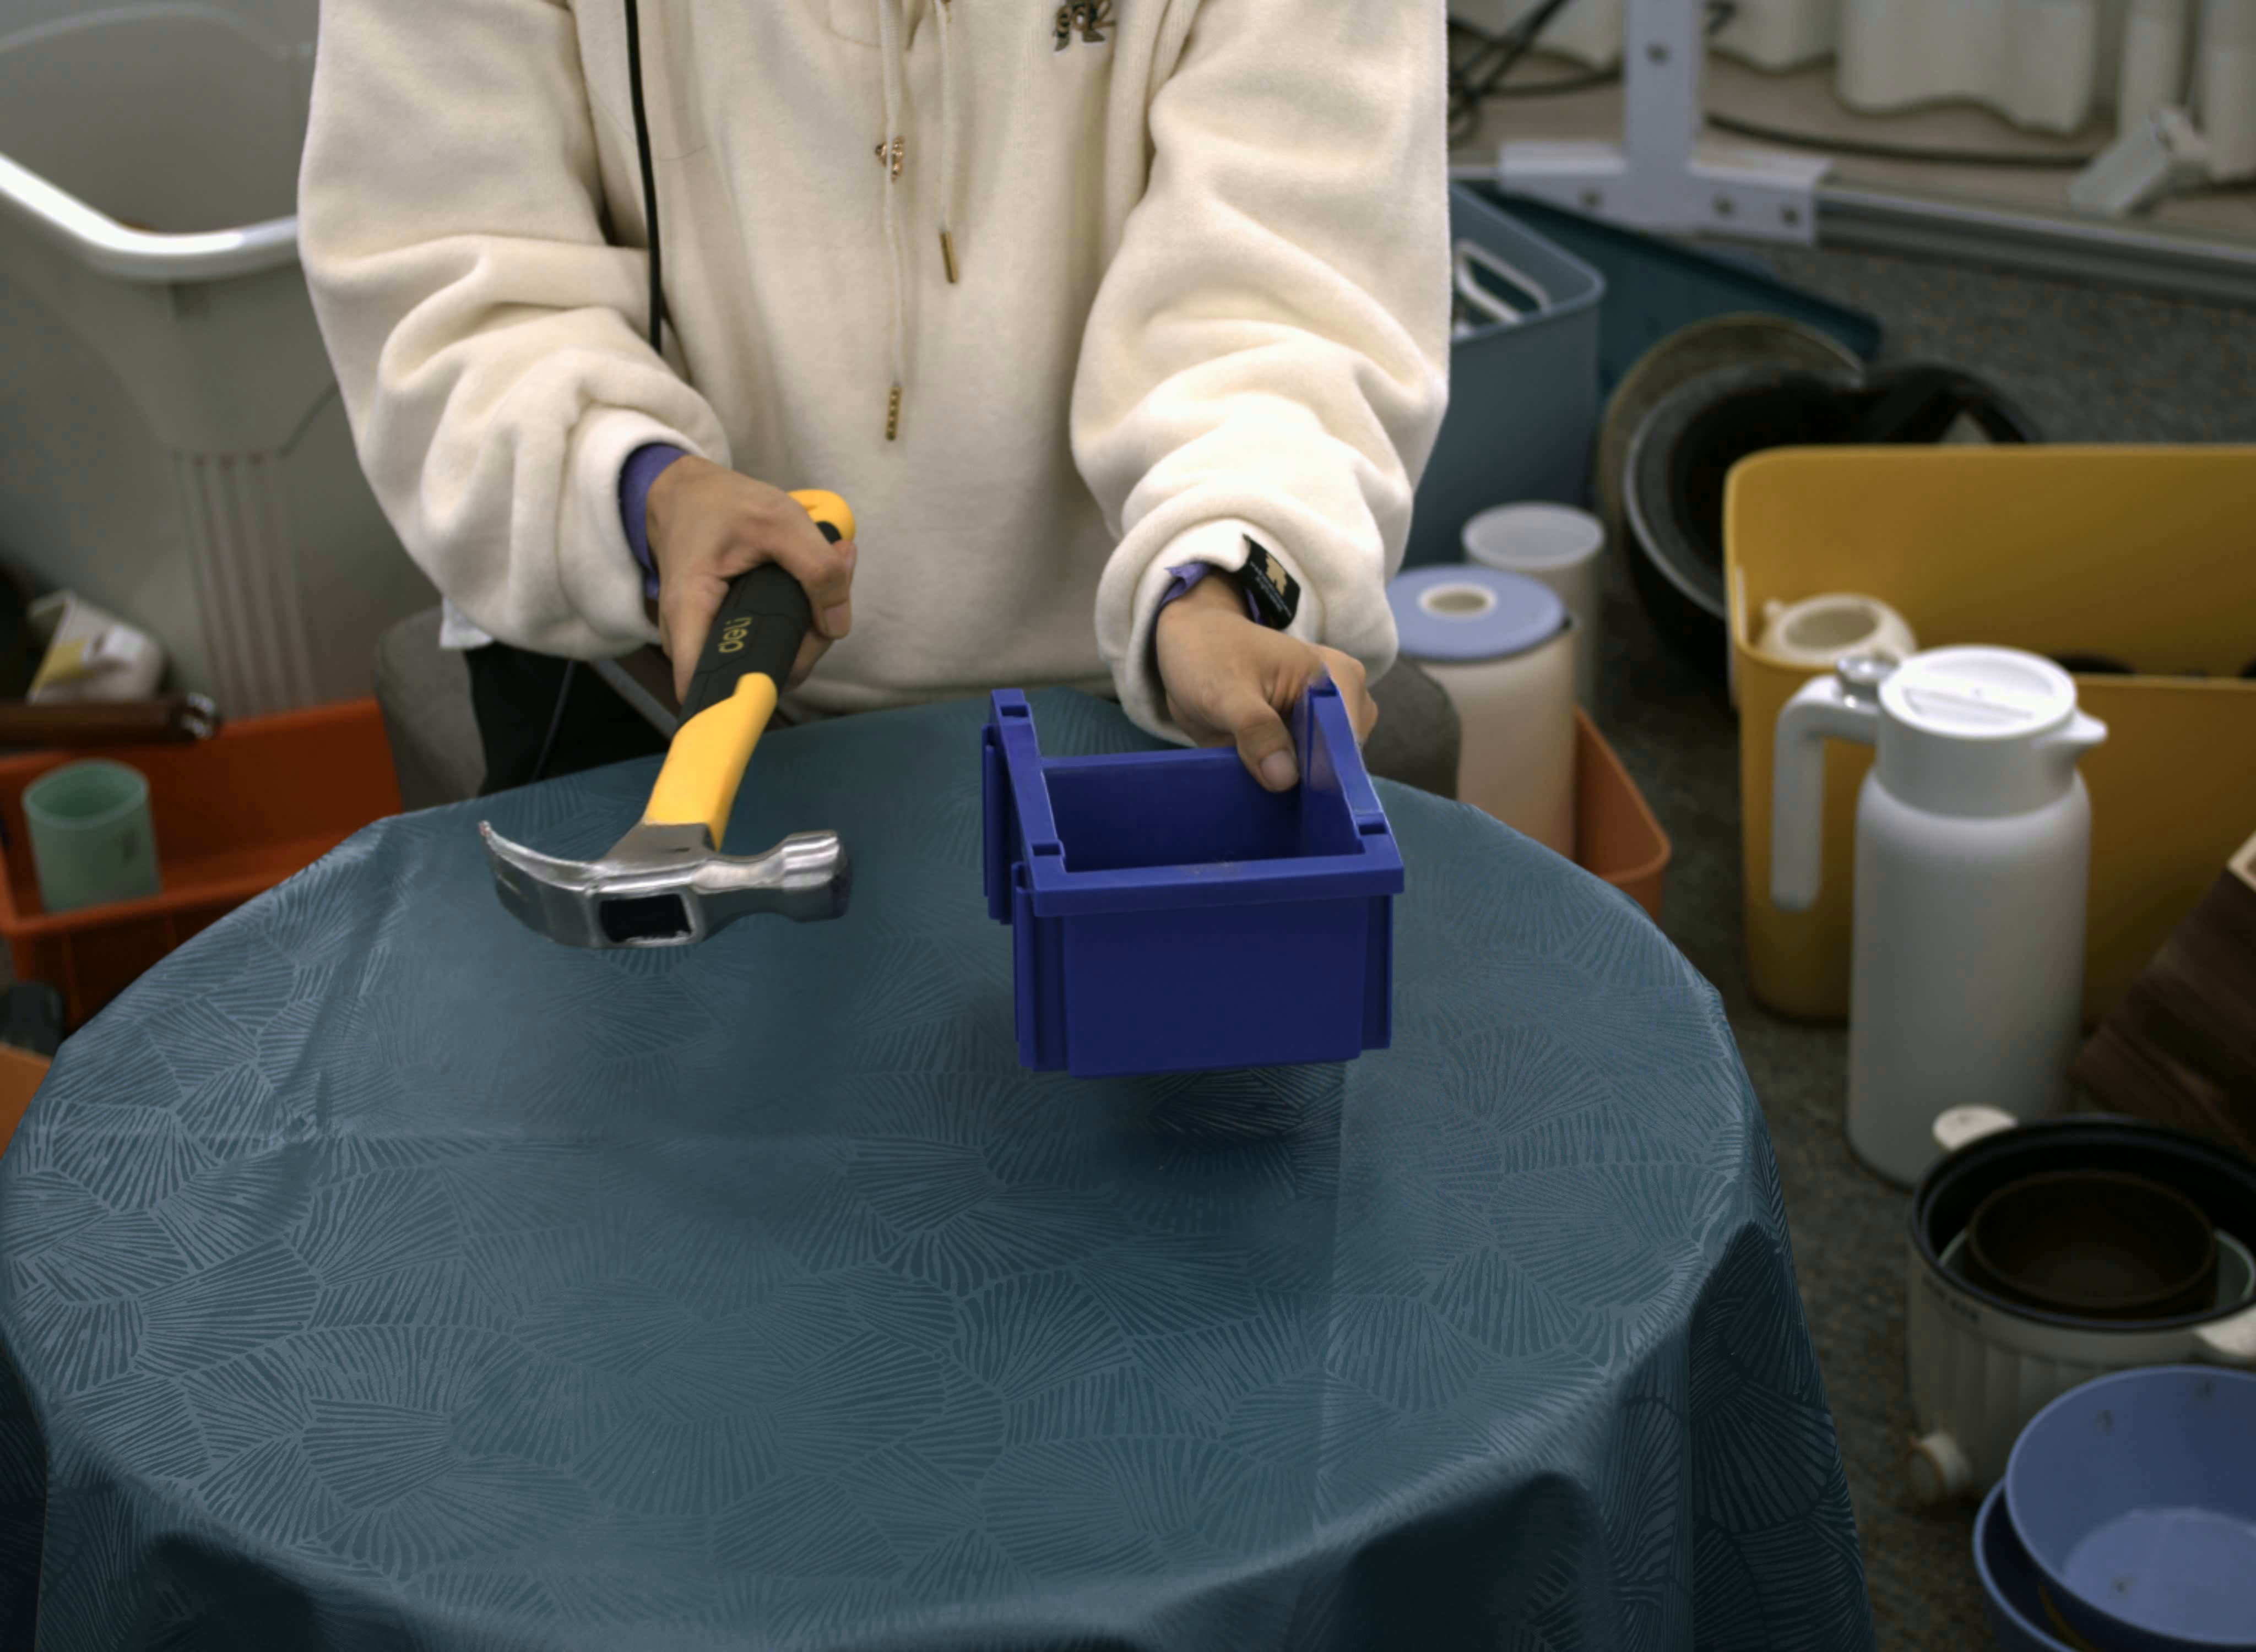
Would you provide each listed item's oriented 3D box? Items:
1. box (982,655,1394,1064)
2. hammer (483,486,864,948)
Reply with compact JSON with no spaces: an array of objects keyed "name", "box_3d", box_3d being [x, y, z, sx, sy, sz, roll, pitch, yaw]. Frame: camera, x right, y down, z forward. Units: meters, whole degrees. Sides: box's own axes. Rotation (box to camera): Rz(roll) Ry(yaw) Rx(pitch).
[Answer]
[{"name":"box","box_3d":[0.016,0.006,1.905,0.124,0.081,0.182,-3,28,-5]},{"name":"hammer","box_3d":[-0.139,-0.046,2.004,0.130,0.032,0.344,-8,24,11]}]
